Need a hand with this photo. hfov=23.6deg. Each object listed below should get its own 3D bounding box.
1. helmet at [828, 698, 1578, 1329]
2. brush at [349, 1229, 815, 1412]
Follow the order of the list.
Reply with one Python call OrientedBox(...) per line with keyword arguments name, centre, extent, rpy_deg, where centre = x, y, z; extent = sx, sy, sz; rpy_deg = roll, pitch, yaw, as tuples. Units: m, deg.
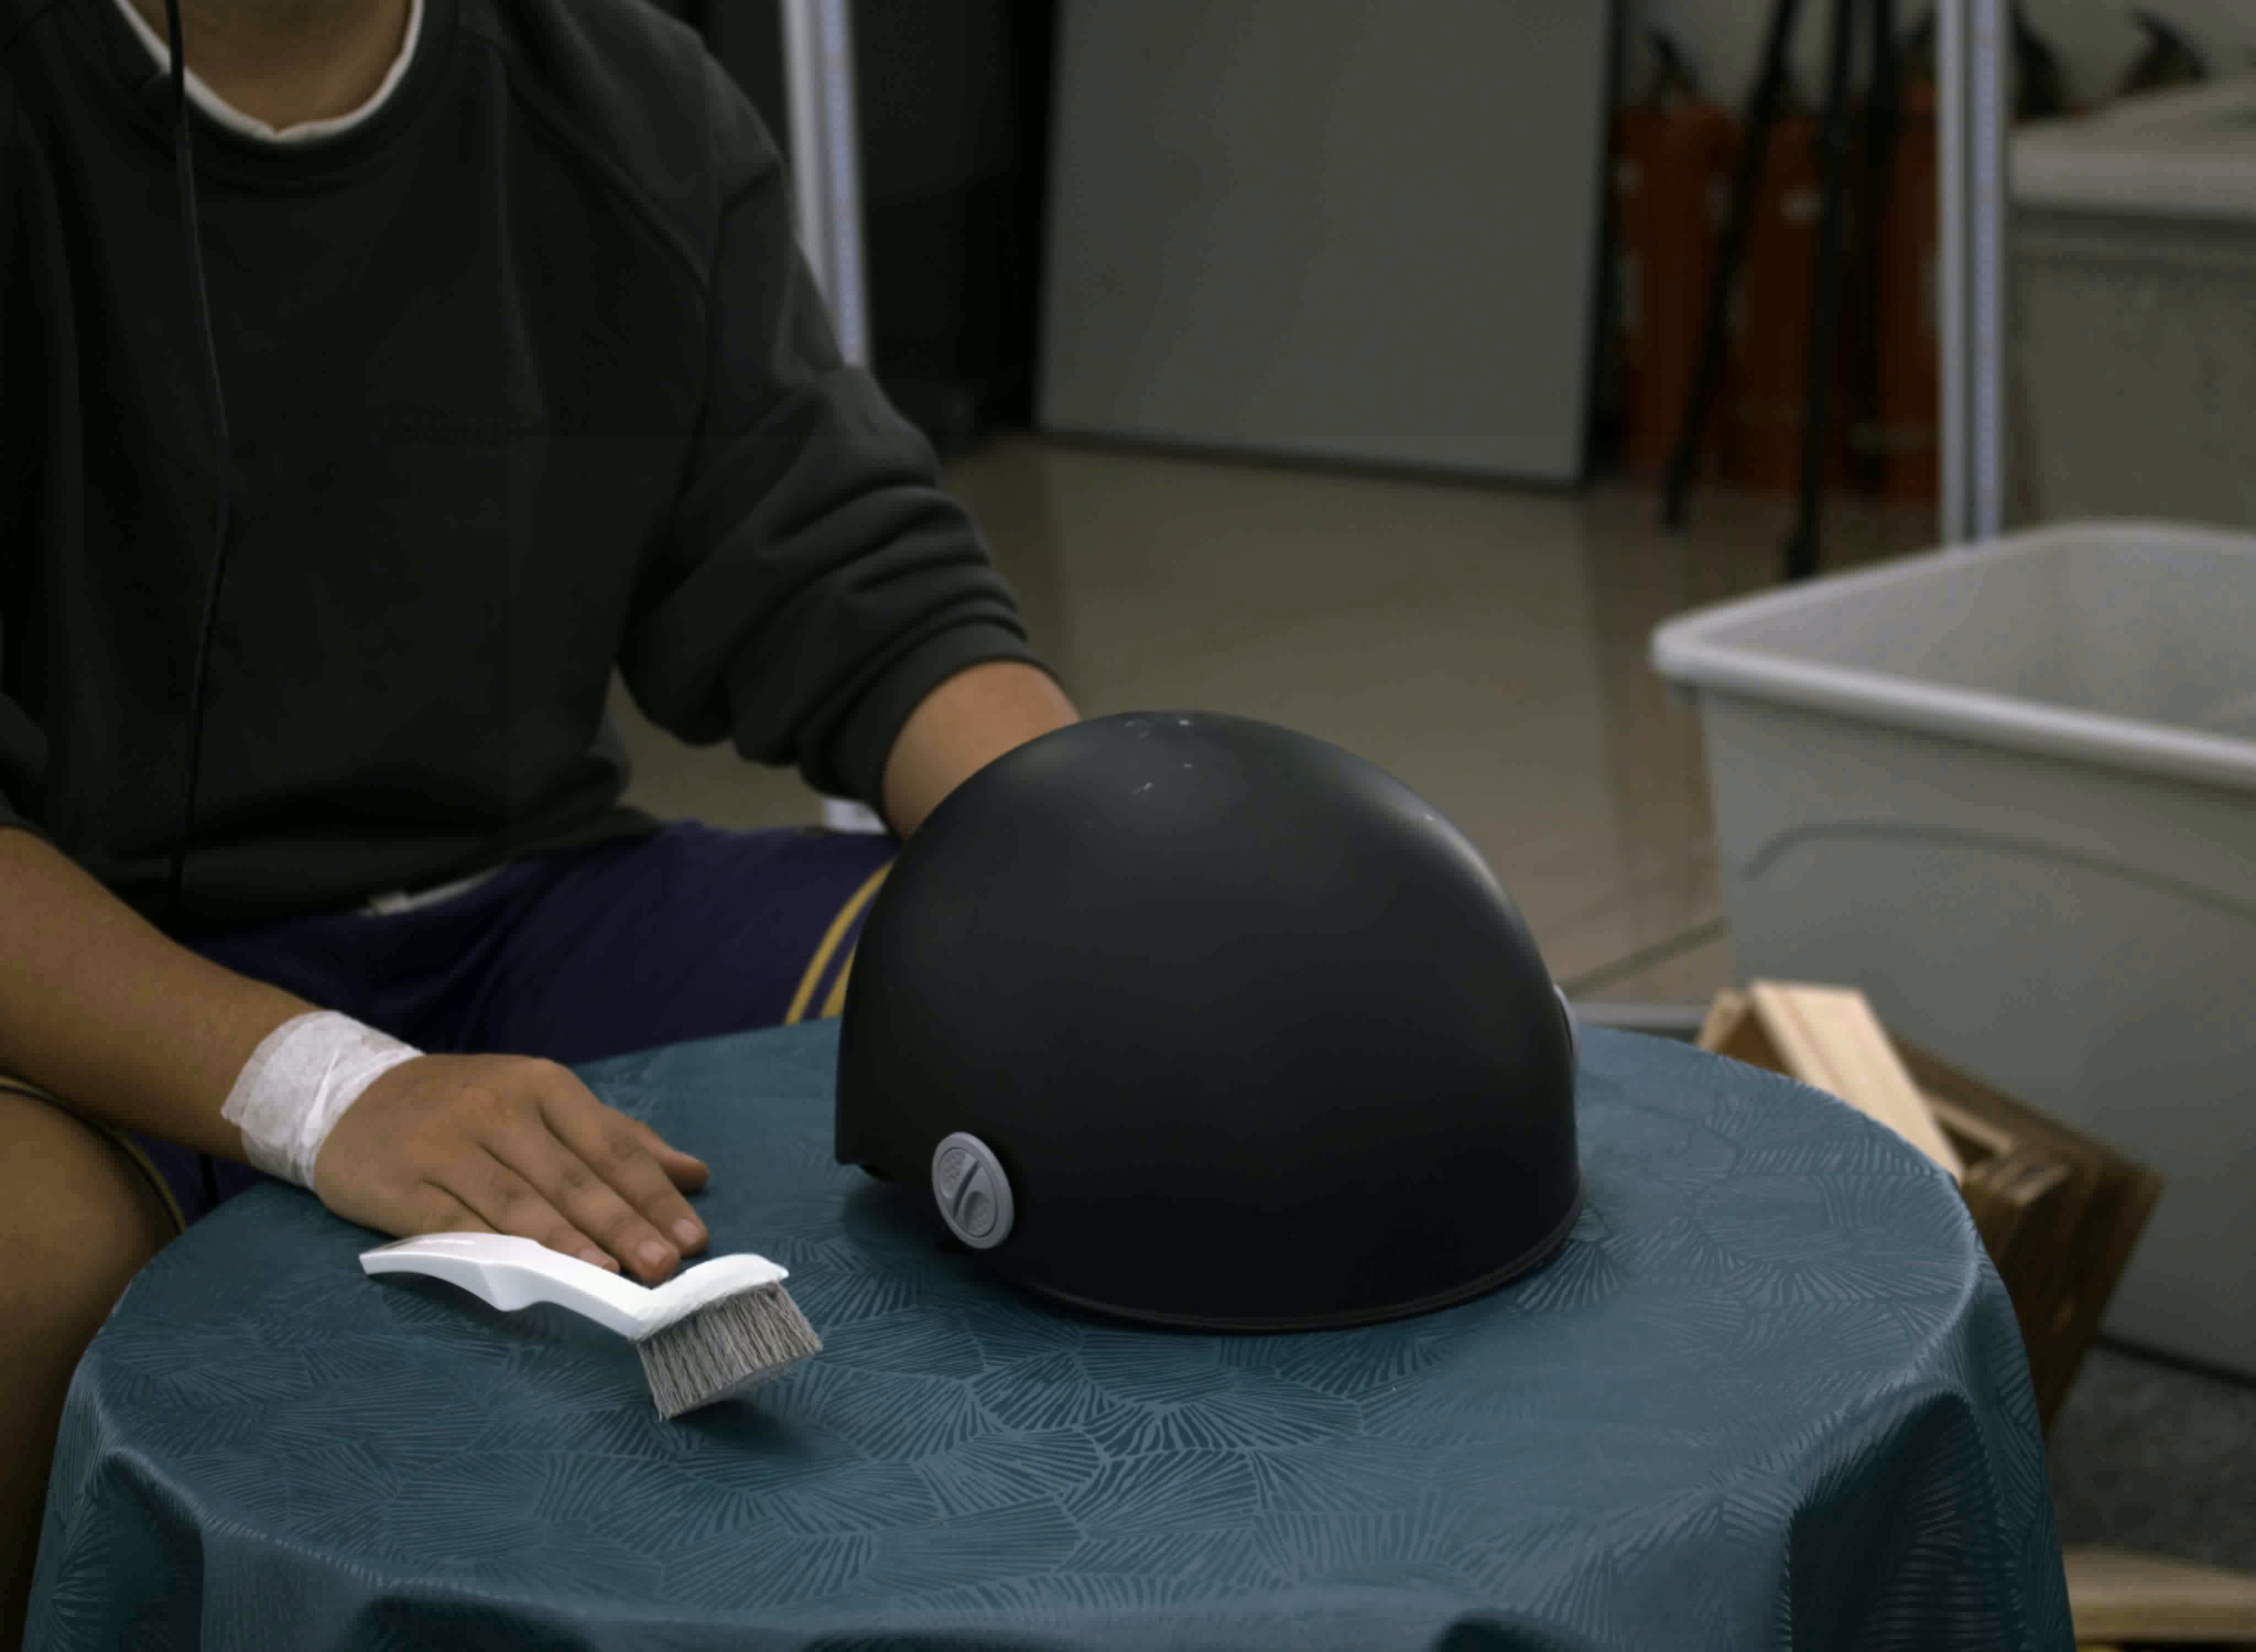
OrientedBox(name="helmet", centre=(0.021, 0.048, 1.727), extent=(0.225, 0.168, 0.276), rpy_deg=(-13, 18, -24))
OrientedBox(name="brush", centre=(-0.169, 0.151, 1.645), extent=(0.033, 0.051, 0.246), rpy_deg=(-17, 5, -34))
